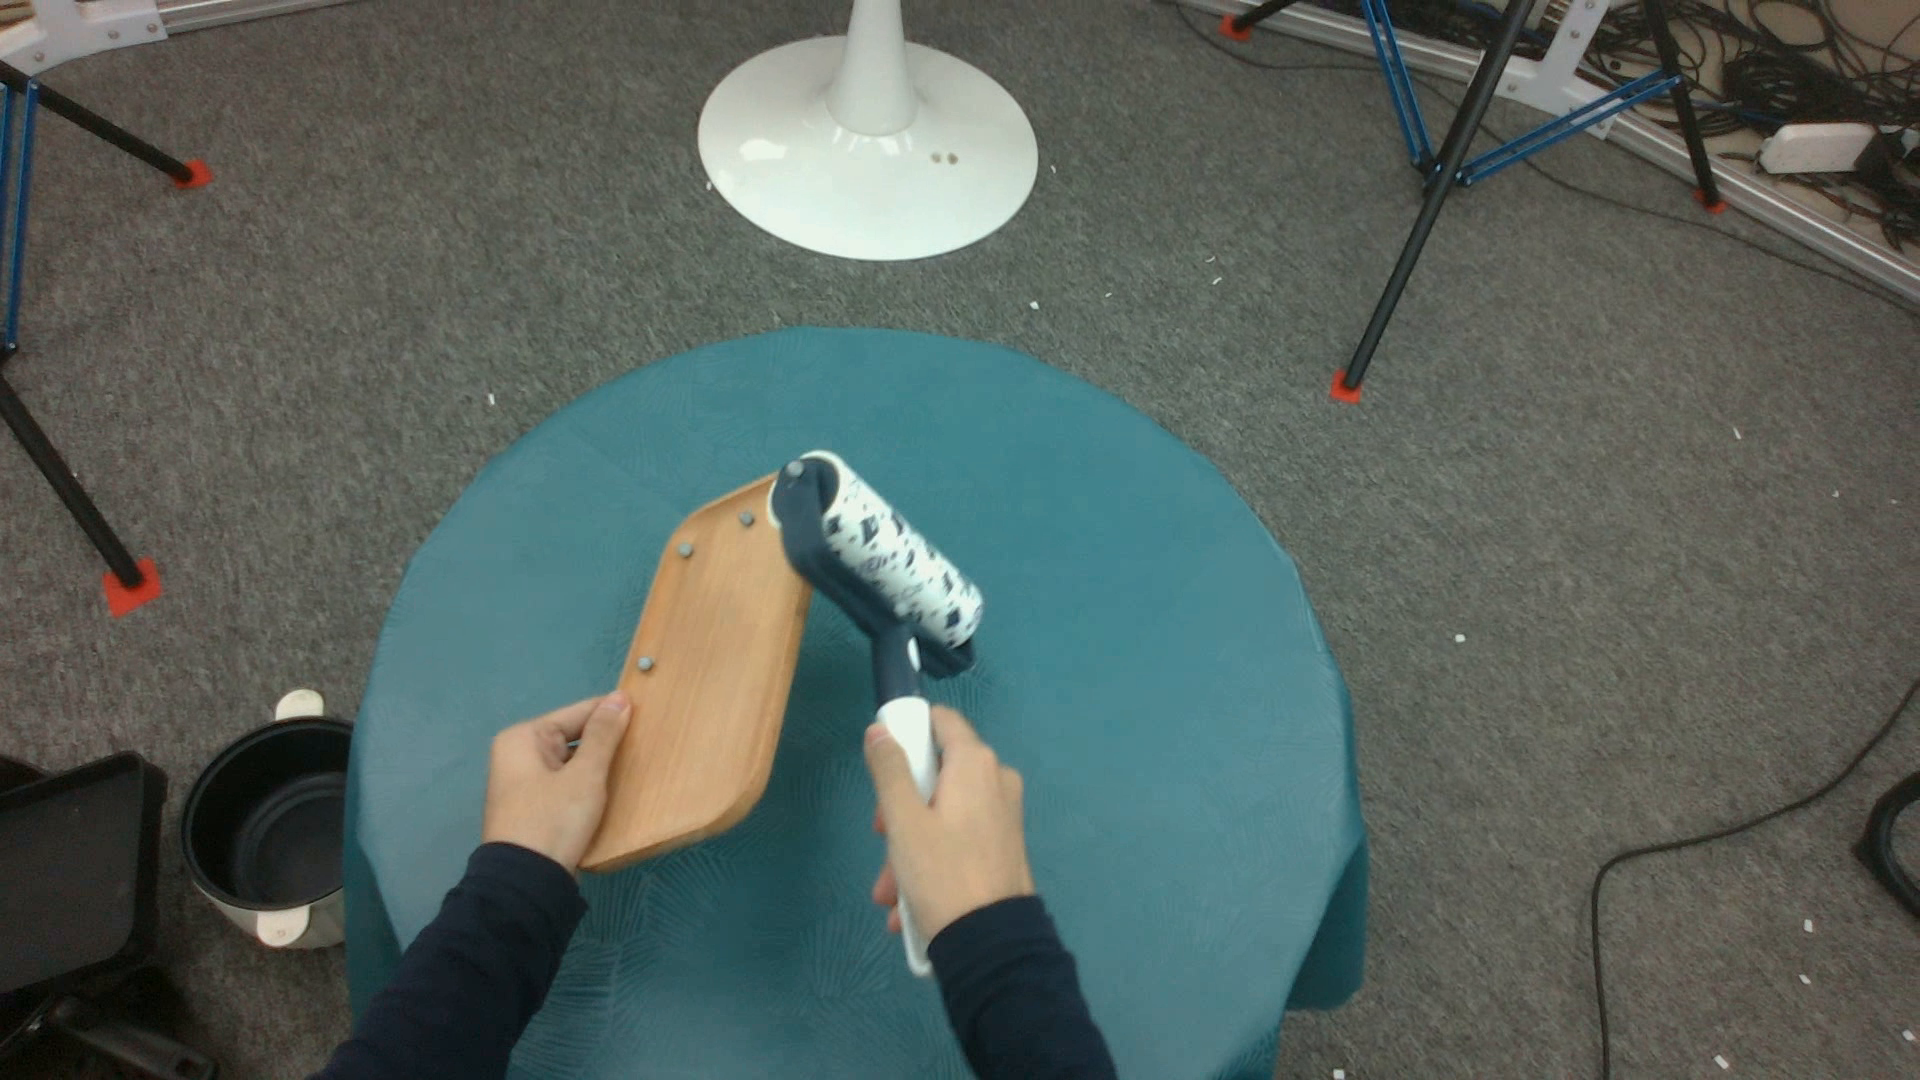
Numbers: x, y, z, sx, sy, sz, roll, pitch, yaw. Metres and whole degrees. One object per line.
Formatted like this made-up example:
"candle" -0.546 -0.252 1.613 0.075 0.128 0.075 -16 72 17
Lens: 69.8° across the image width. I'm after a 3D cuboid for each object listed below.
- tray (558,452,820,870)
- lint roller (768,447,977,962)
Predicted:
"tray" -0.136 0.057 0.737 0.130 0.023 0.252 -24 39 30
"lint roller" -0.027 0.089 0.704 0.050 0.176 0.248 -23 56 16
